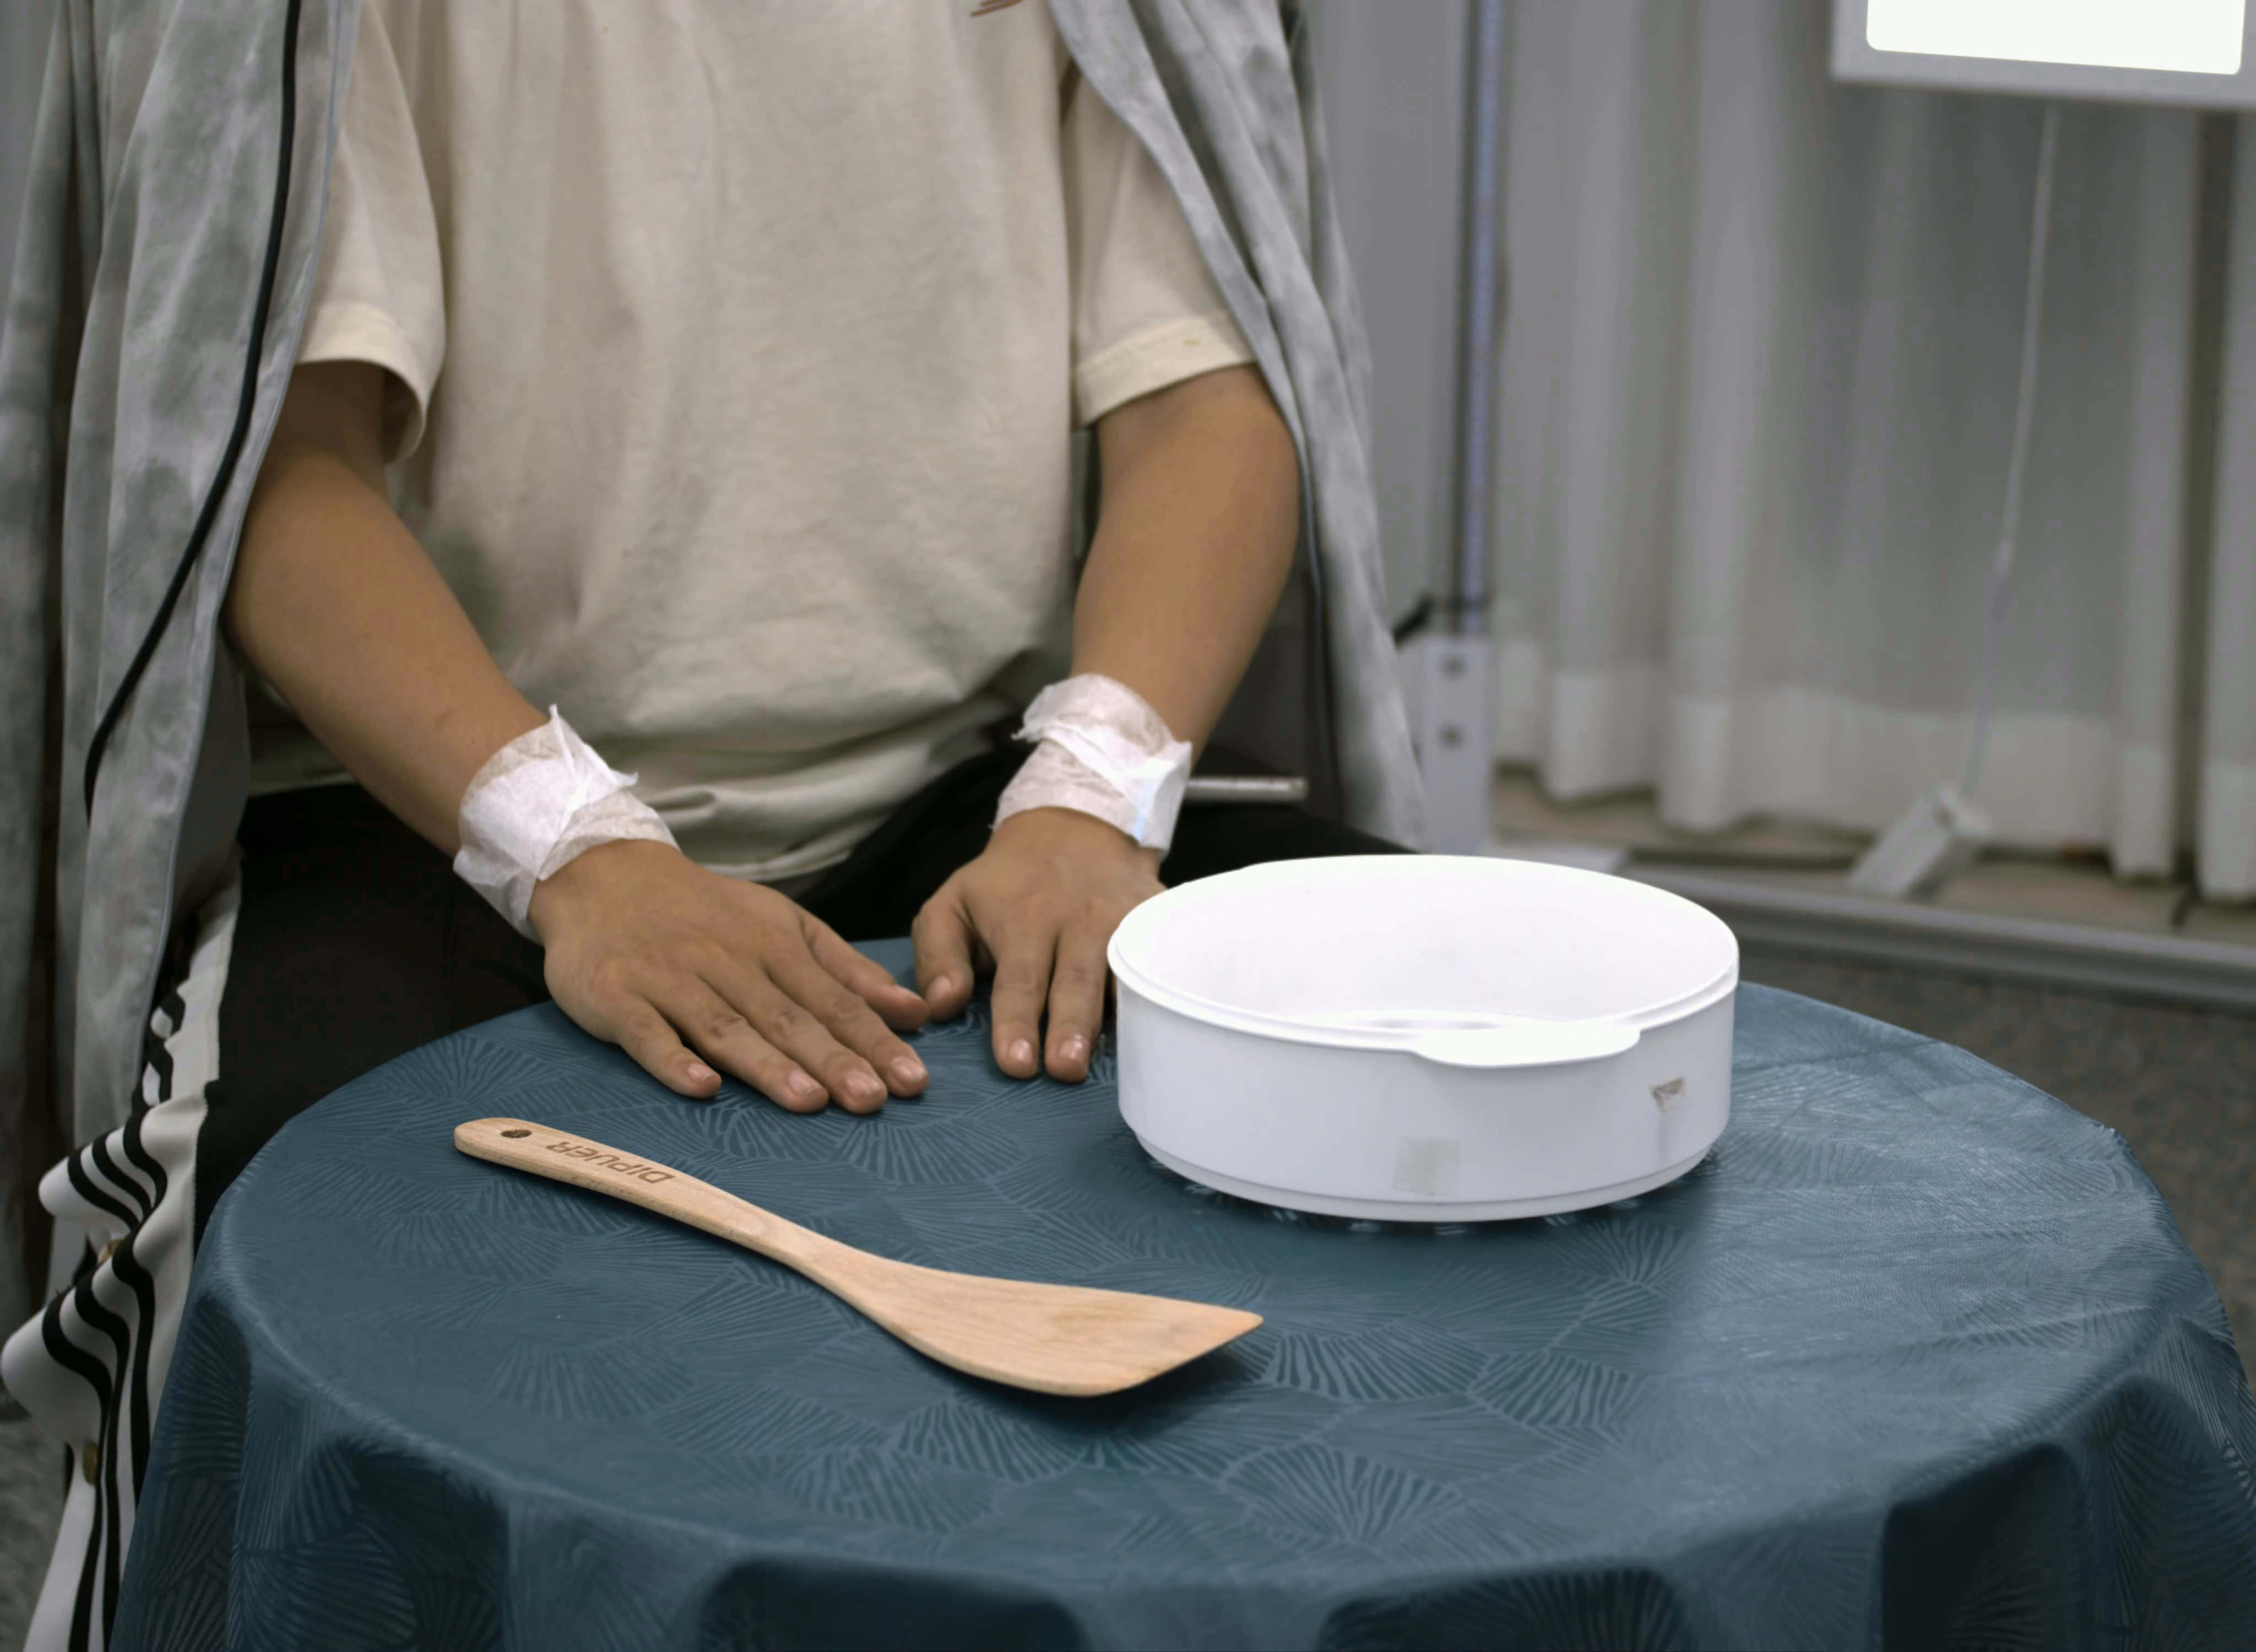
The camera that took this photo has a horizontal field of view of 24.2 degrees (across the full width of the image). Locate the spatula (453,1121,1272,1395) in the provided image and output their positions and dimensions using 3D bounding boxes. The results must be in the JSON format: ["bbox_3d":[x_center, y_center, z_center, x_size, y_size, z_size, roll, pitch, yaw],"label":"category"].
[{"bbox_3d":[-0.091,0.122,1.554,0.323,0.016,0.080,15,20,42],"label":"spatula"}]

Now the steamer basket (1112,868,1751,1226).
[{"bbox_3d":[0.095,0.069,1.663,0.202,0.070,0.228,-2,15,-15],"label":"steamer basket"}]
